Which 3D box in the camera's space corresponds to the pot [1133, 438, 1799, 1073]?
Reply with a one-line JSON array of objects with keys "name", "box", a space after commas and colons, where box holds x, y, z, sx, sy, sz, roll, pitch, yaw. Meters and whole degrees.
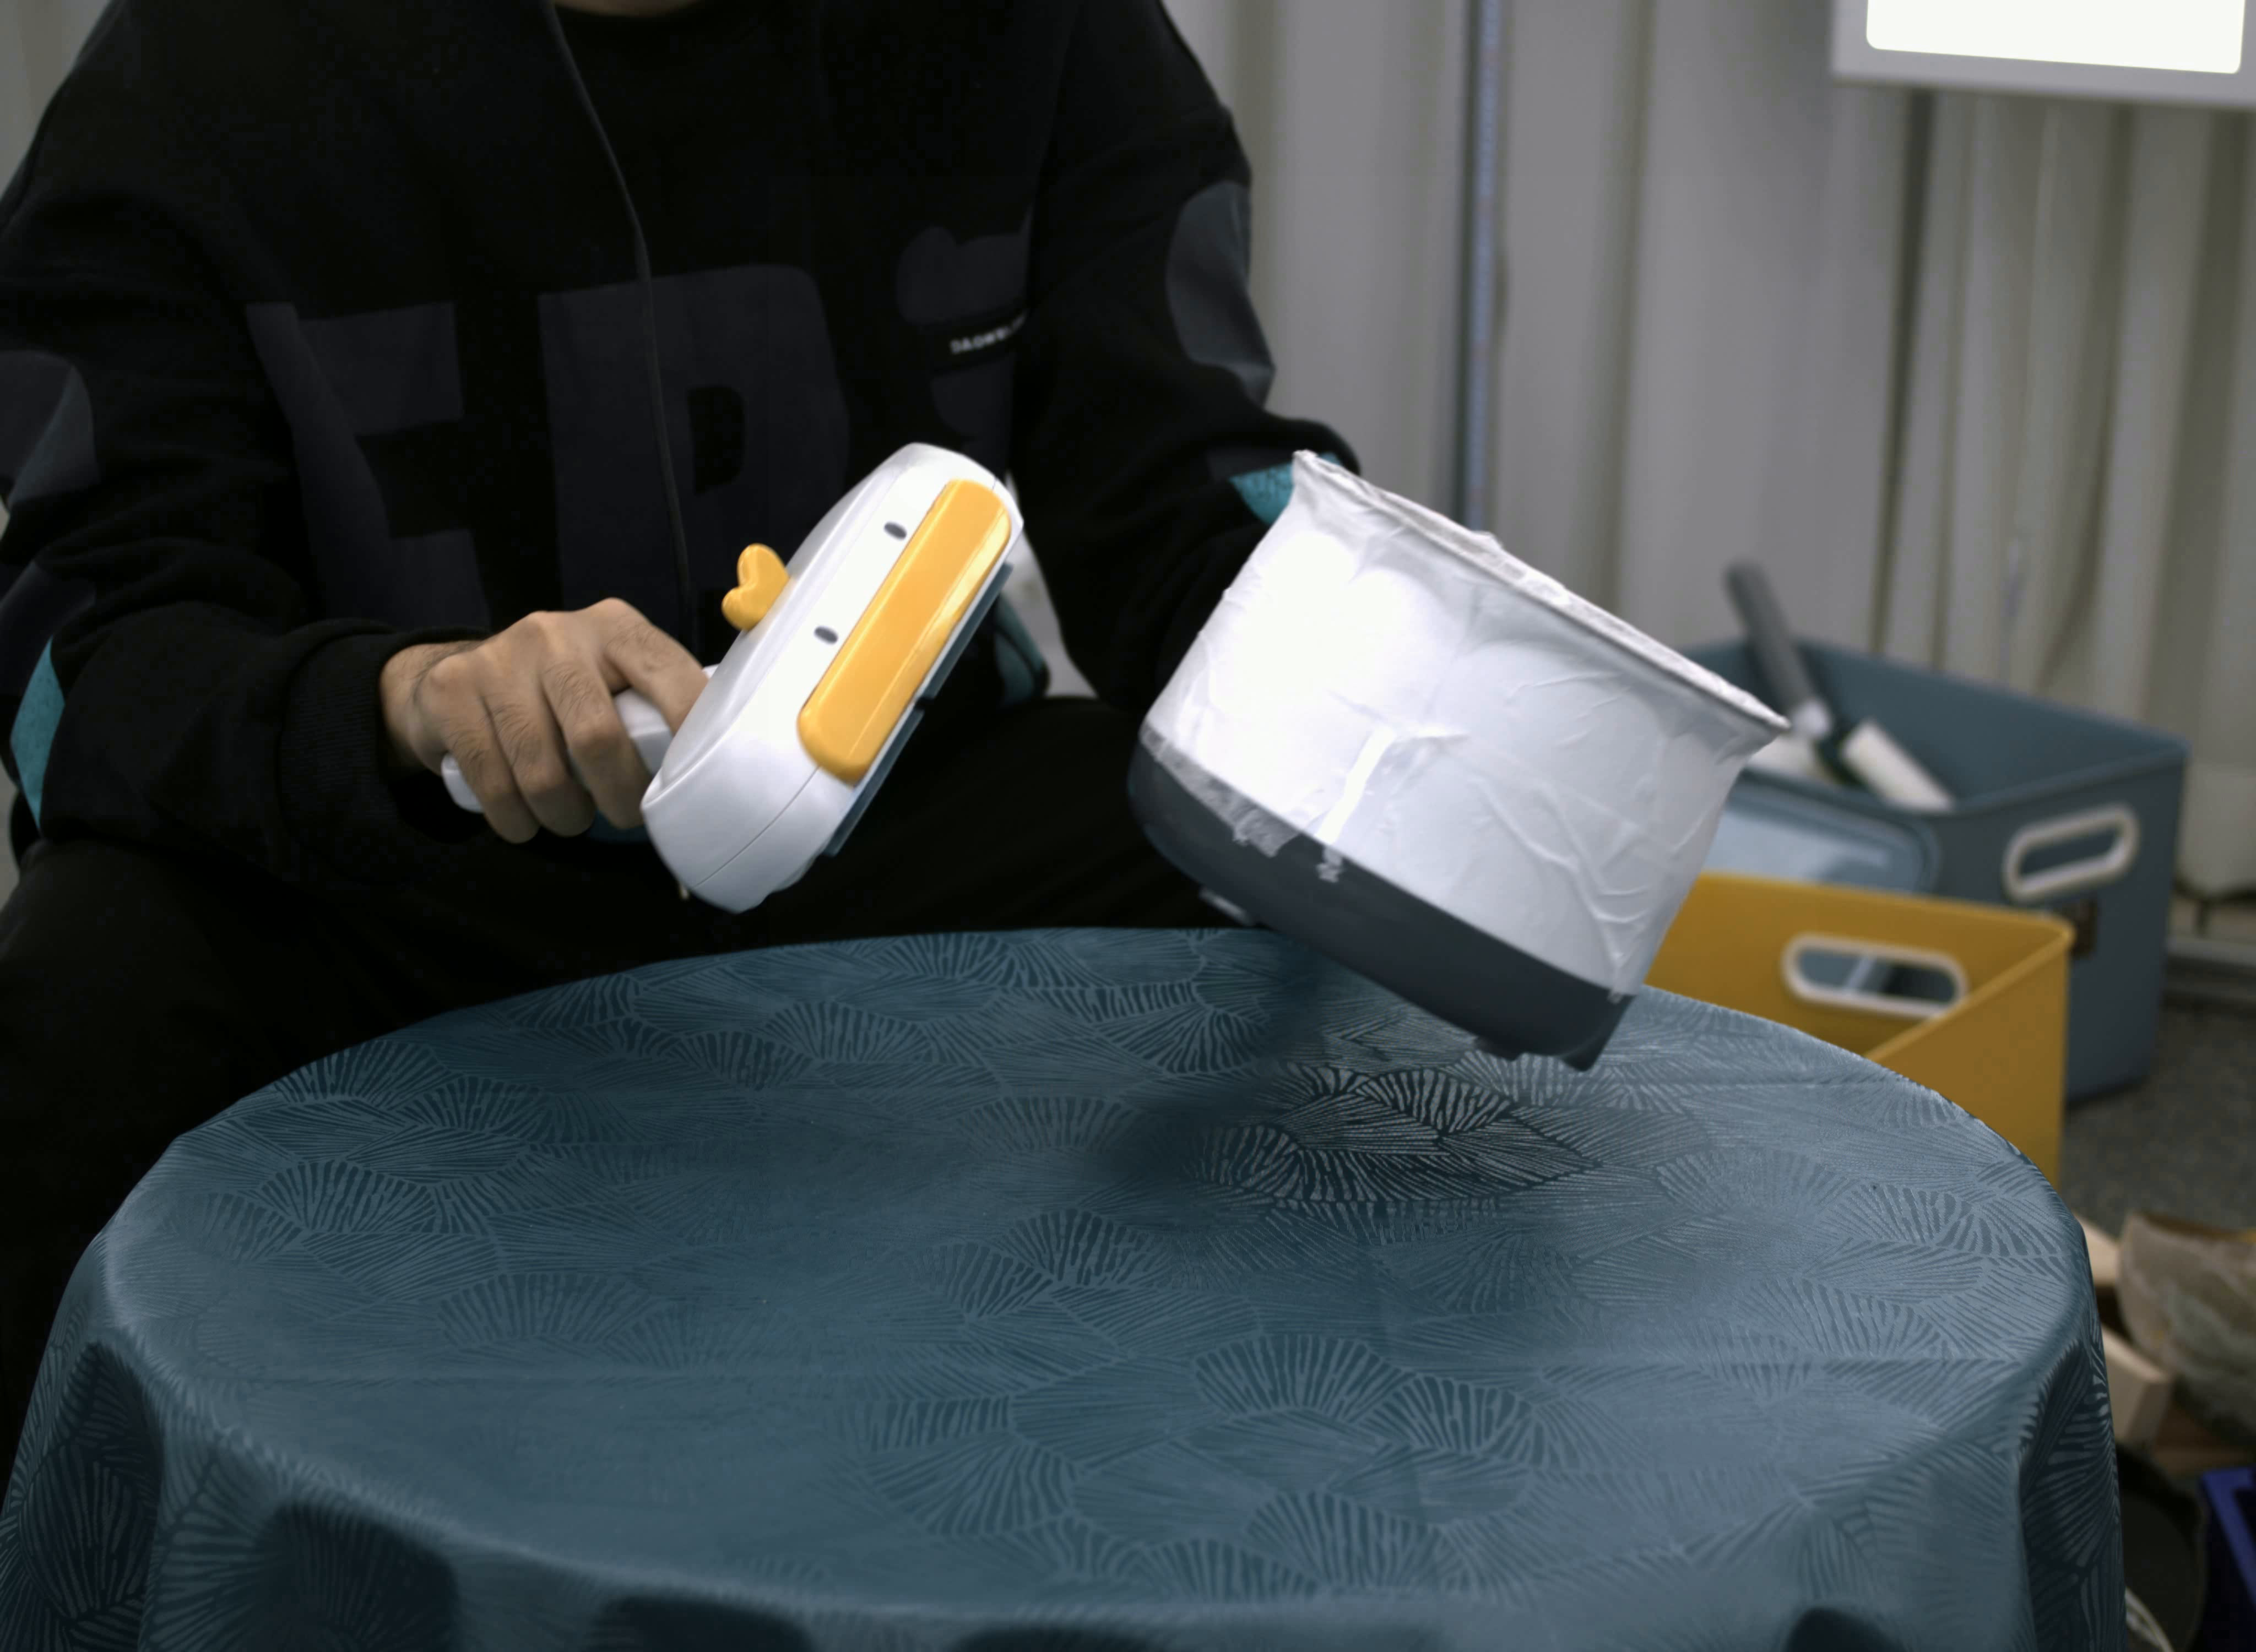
[{"name": "pot", "box": [0.097, -0.026, 1.670, 0.179, 0.137, 0.232, 30, 6, -12]}]

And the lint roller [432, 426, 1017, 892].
[{"name": "lint roller", "box": [-0.136, -0.035, 1.652, 0.191, 0.075, 0.192, -28, 26, 34]}]
